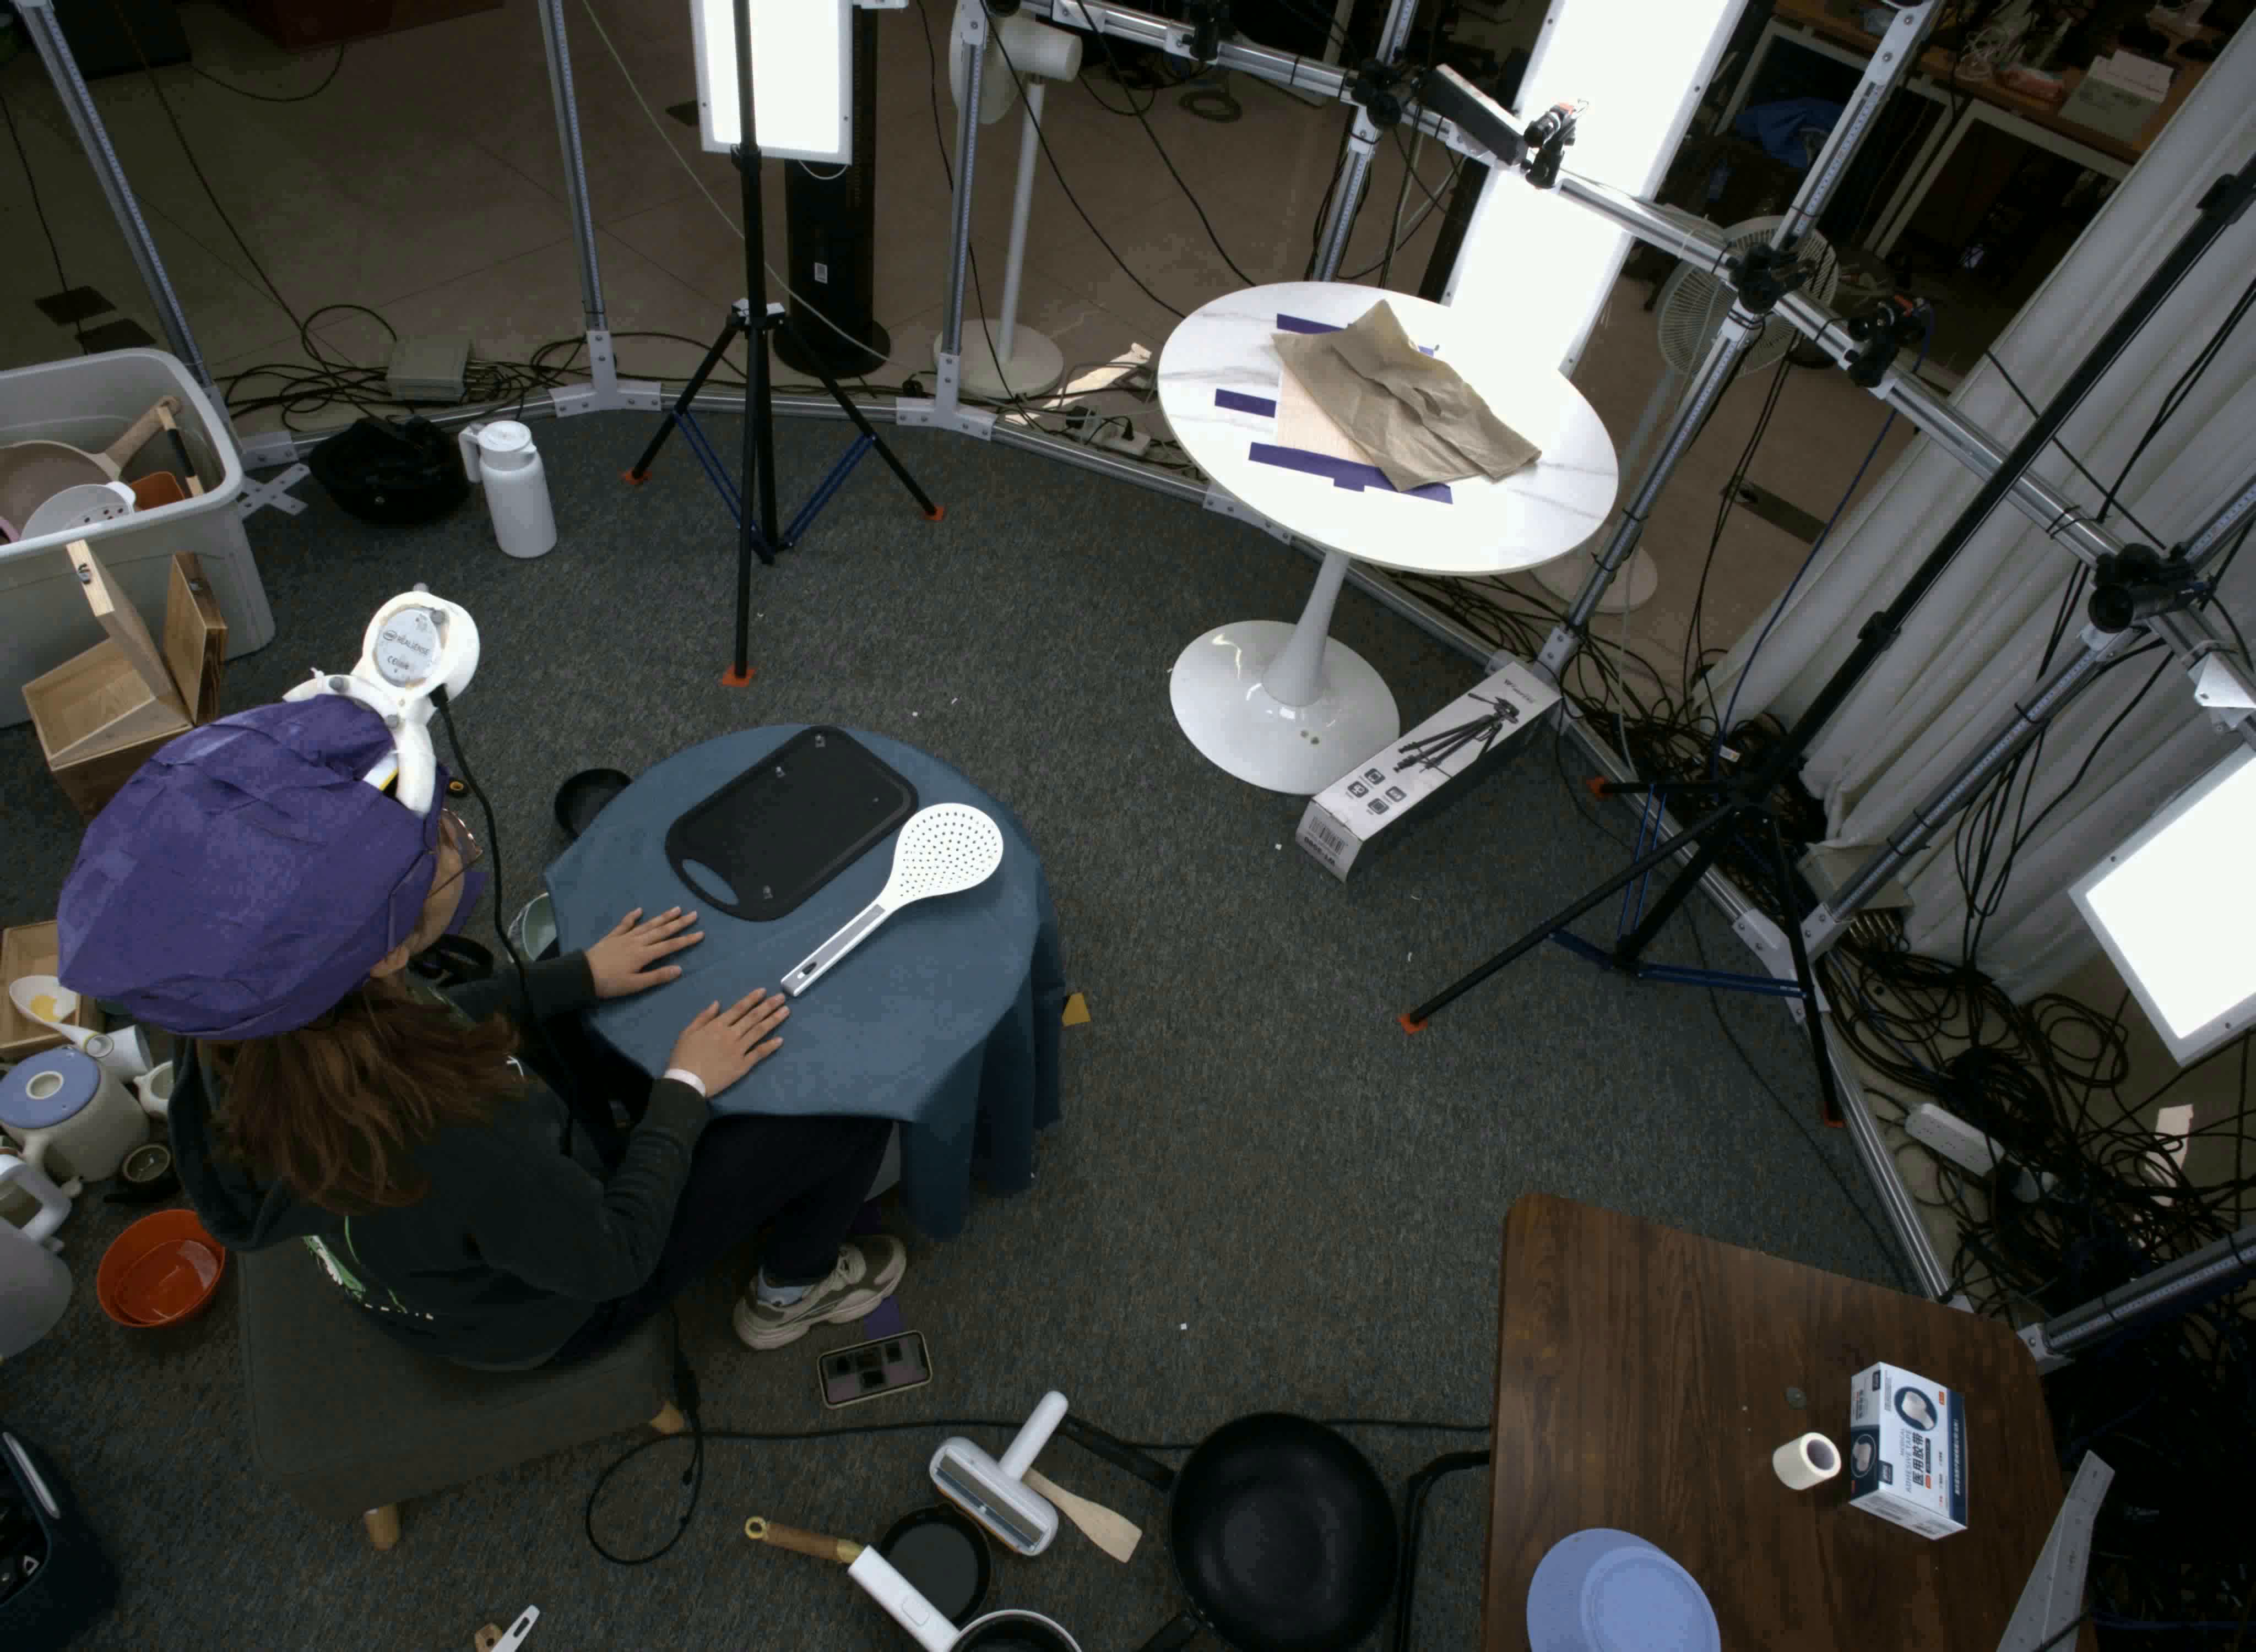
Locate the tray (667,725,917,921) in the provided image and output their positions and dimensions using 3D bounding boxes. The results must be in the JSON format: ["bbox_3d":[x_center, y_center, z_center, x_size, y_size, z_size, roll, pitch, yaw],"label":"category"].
[{"bbox_3d":[-0.449,-0.008,1.724,0.207,0.010,0.325,37,54,14],"label":"tray"}]

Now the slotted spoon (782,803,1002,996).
[{"bbox_3d":[-0.303,0.093,1.662,0.133,0.047,0.350,37,55,17],"label":"slotted spoon"}]
